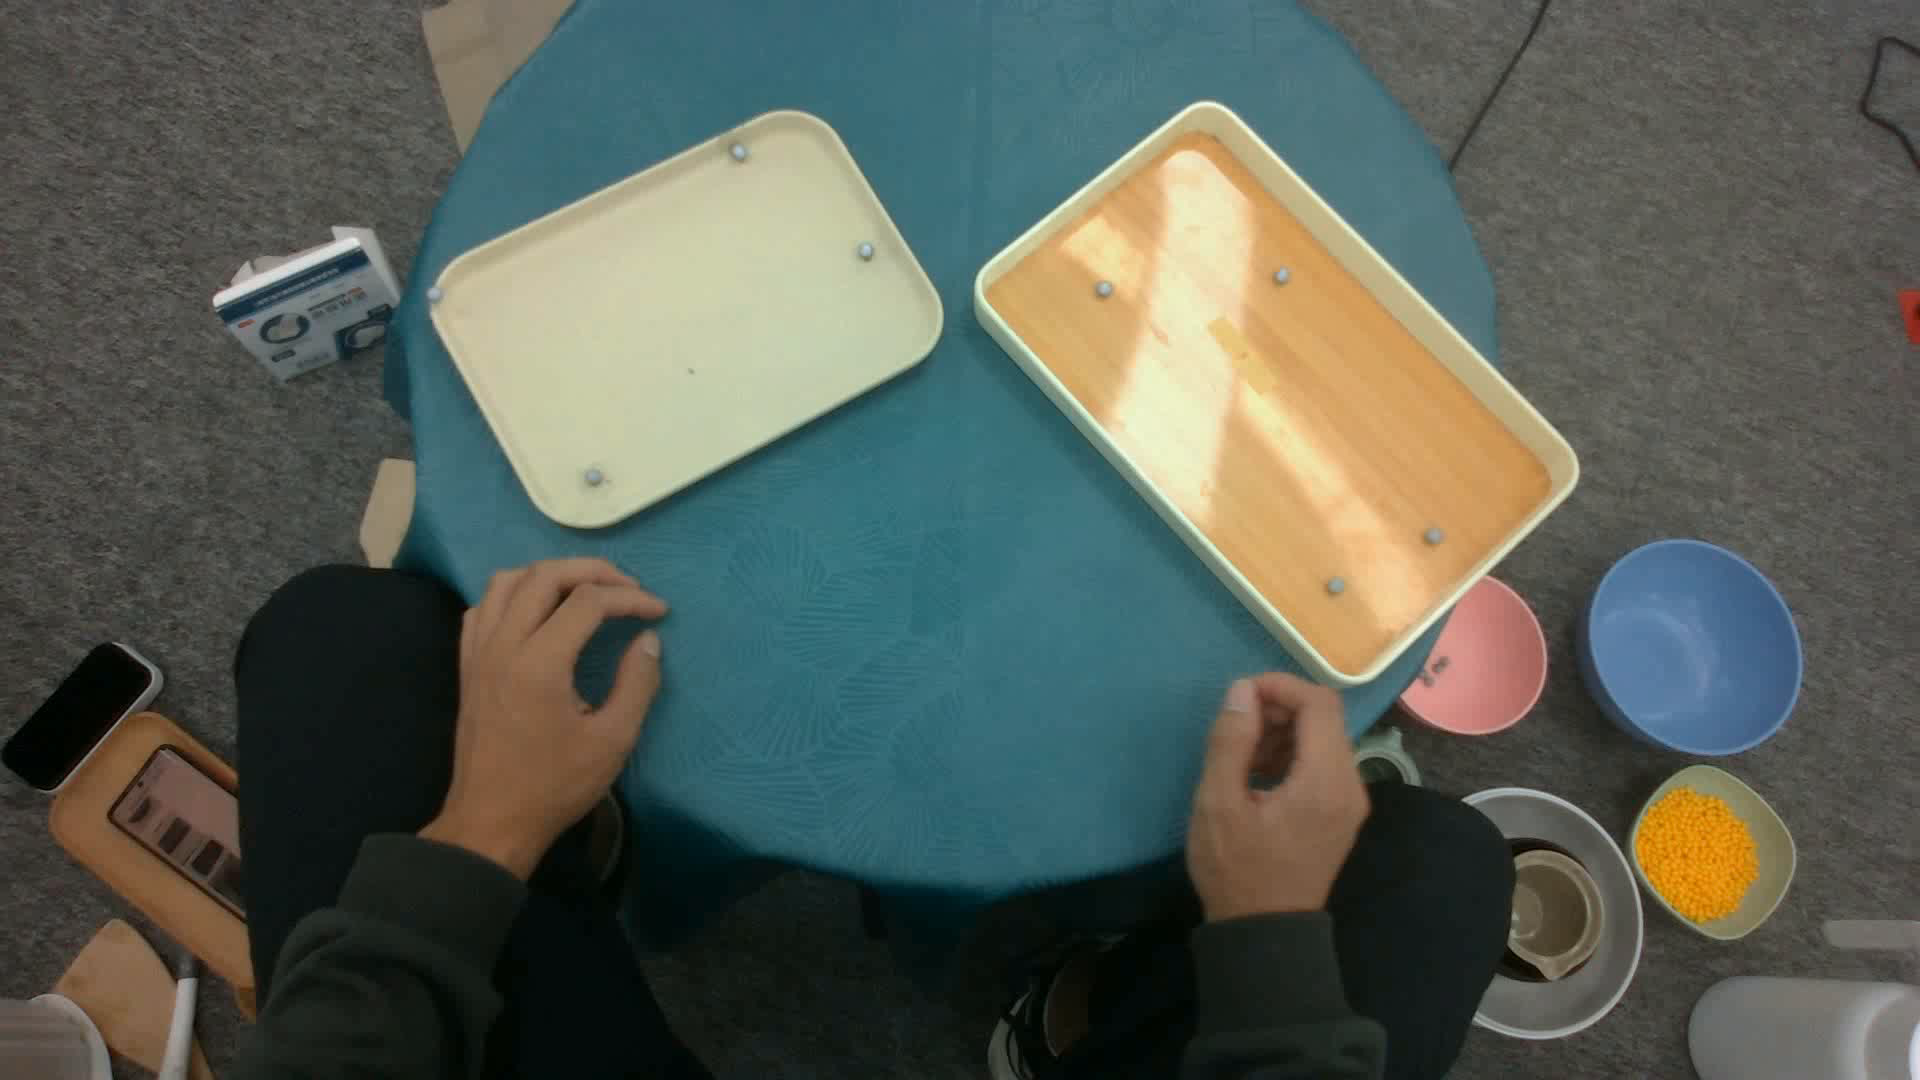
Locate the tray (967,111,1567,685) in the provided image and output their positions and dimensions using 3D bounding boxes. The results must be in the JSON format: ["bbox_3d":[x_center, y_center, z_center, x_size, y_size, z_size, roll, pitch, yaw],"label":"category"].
[{"bbox_3d":[0.167,-0.085,0.762,0.192,0.027,0.300,-41,80,-14],"label":"tray"}]

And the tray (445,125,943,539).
[{"bbox_3d":[-0.143,-0.117,0.755,0.240,0.017,0.171,-30,78,-12],"label":"tray"}]
